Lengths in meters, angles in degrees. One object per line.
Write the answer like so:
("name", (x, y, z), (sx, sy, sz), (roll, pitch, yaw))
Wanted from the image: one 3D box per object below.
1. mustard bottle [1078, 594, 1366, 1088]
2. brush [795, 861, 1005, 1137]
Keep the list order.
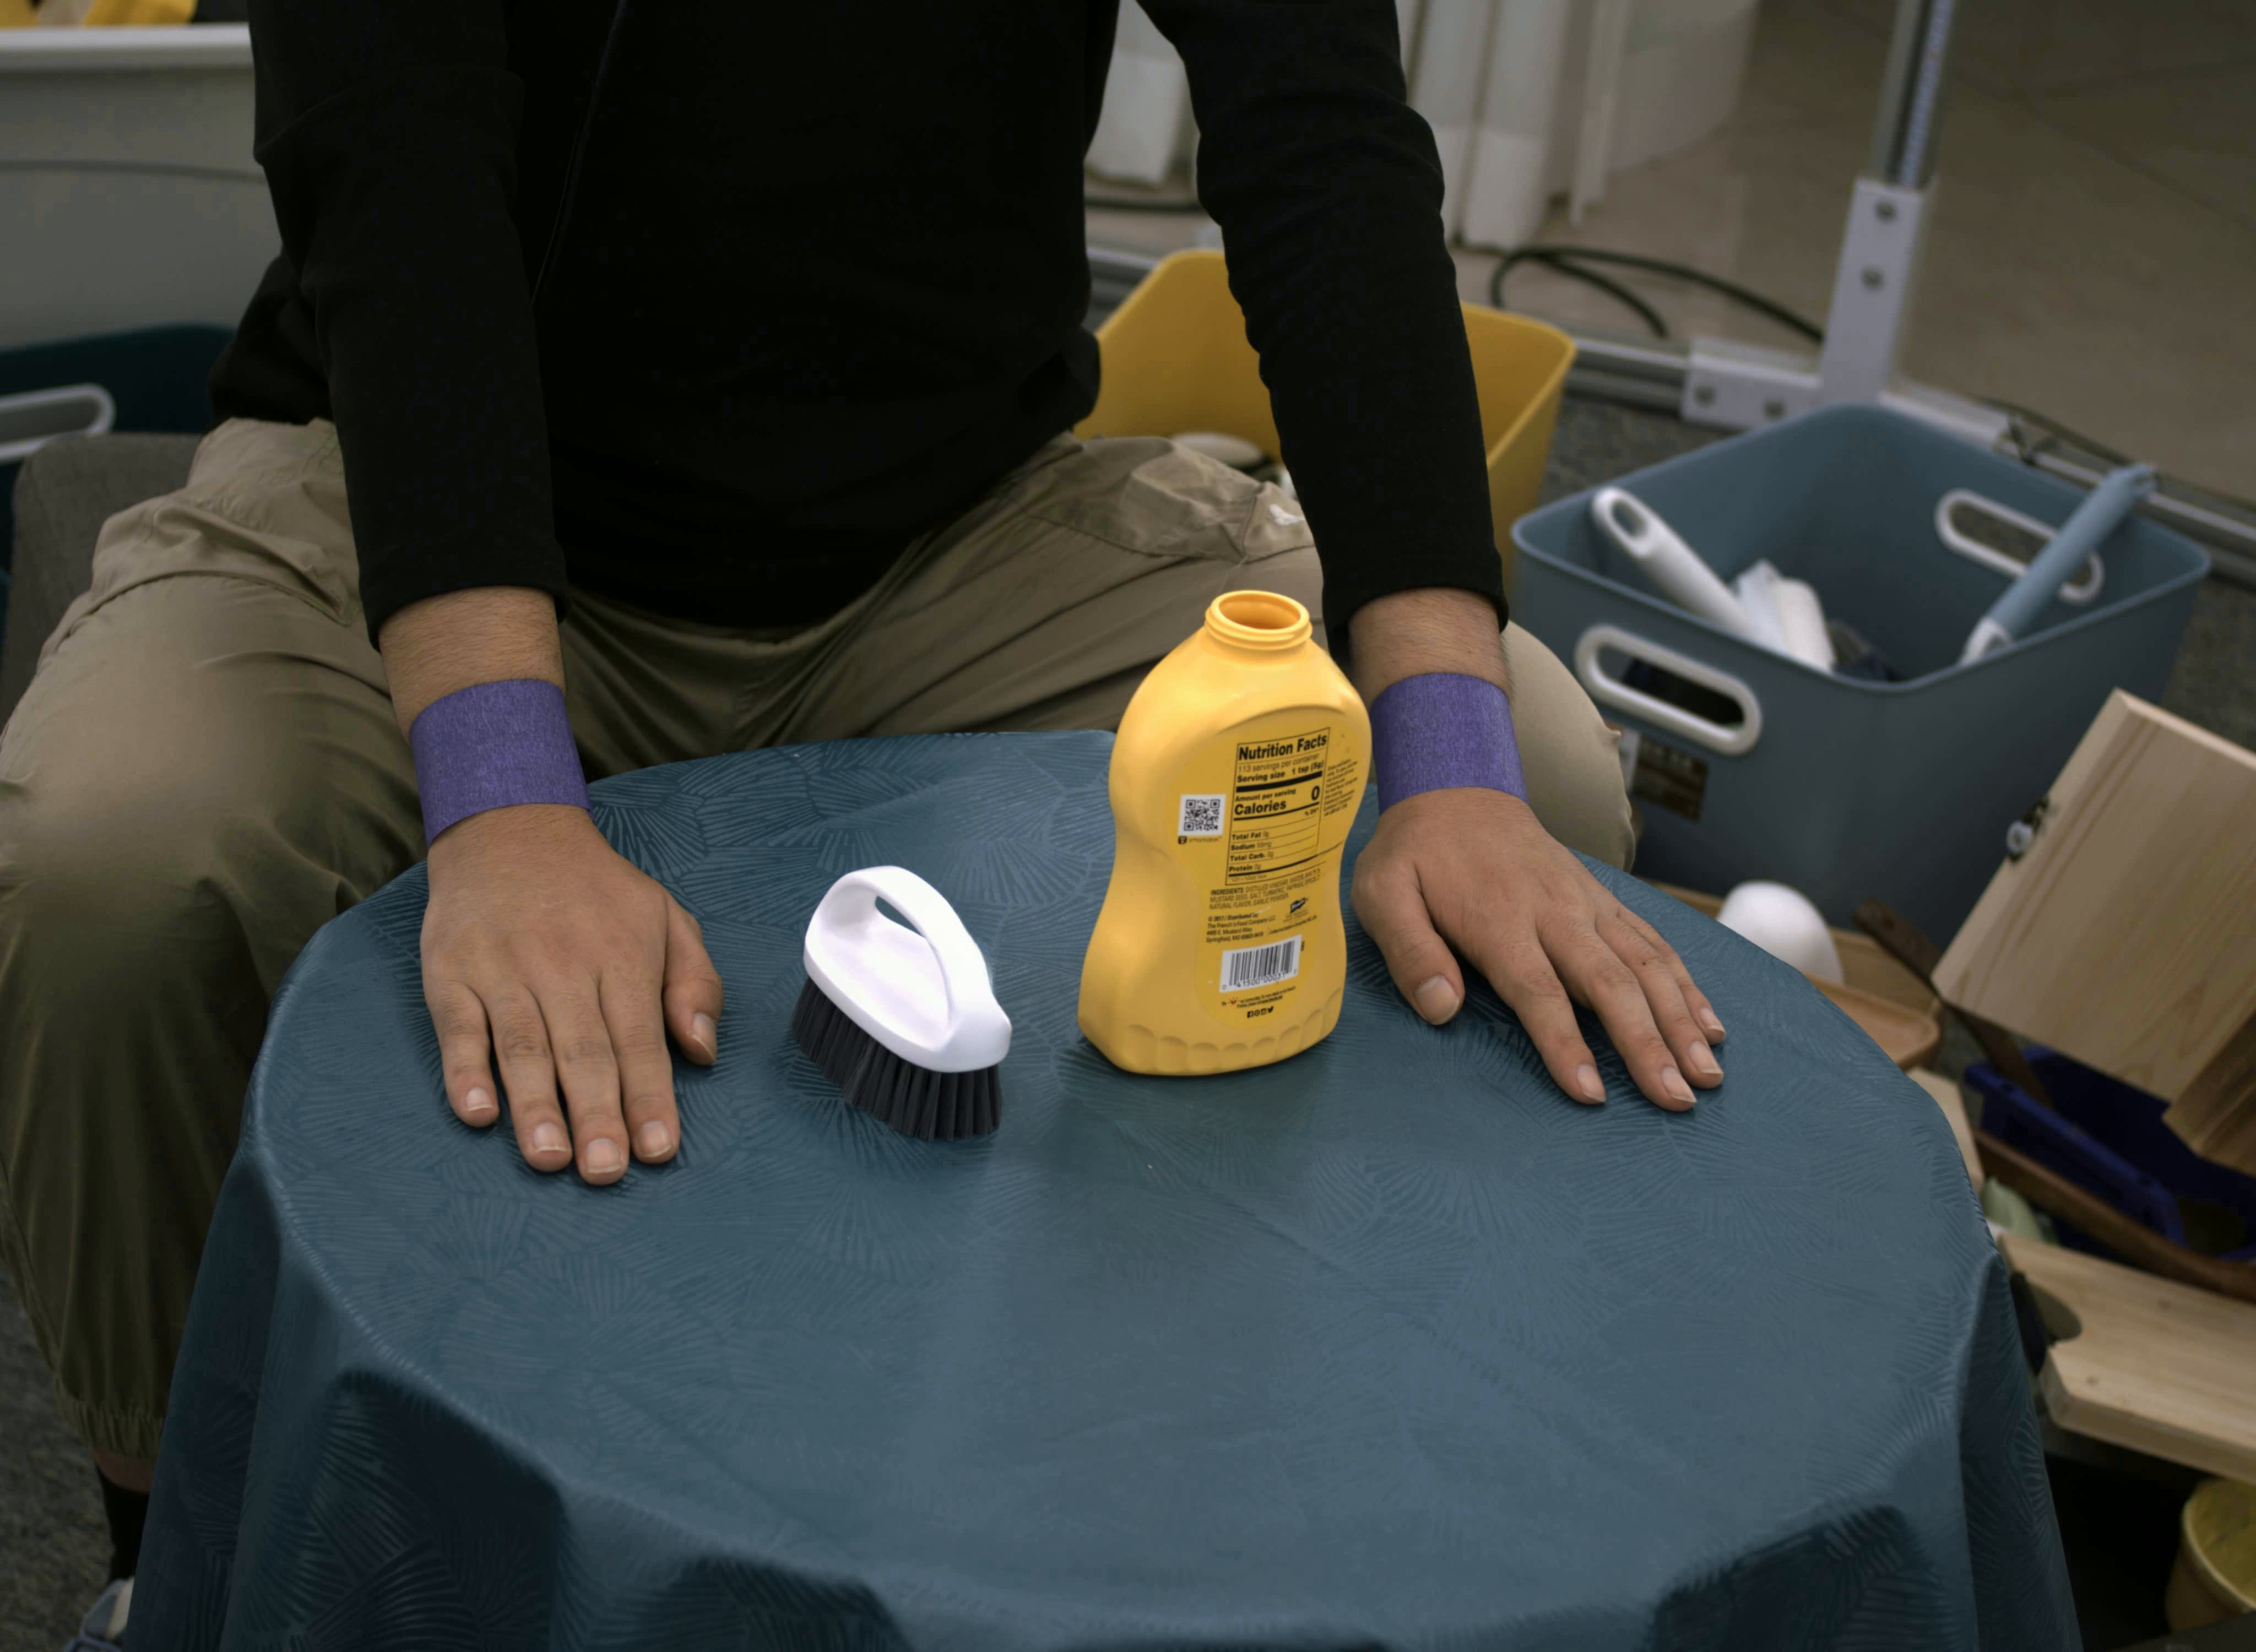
("mustard bottle", (0.035, 0.004, 1.860), (0.097, 0.171, 0.060), (-12, 28, -31))
("brush", (-0.078, 0.053, 1.840), (0.050, 0.072, 0.100), (-8, 31, -30))
